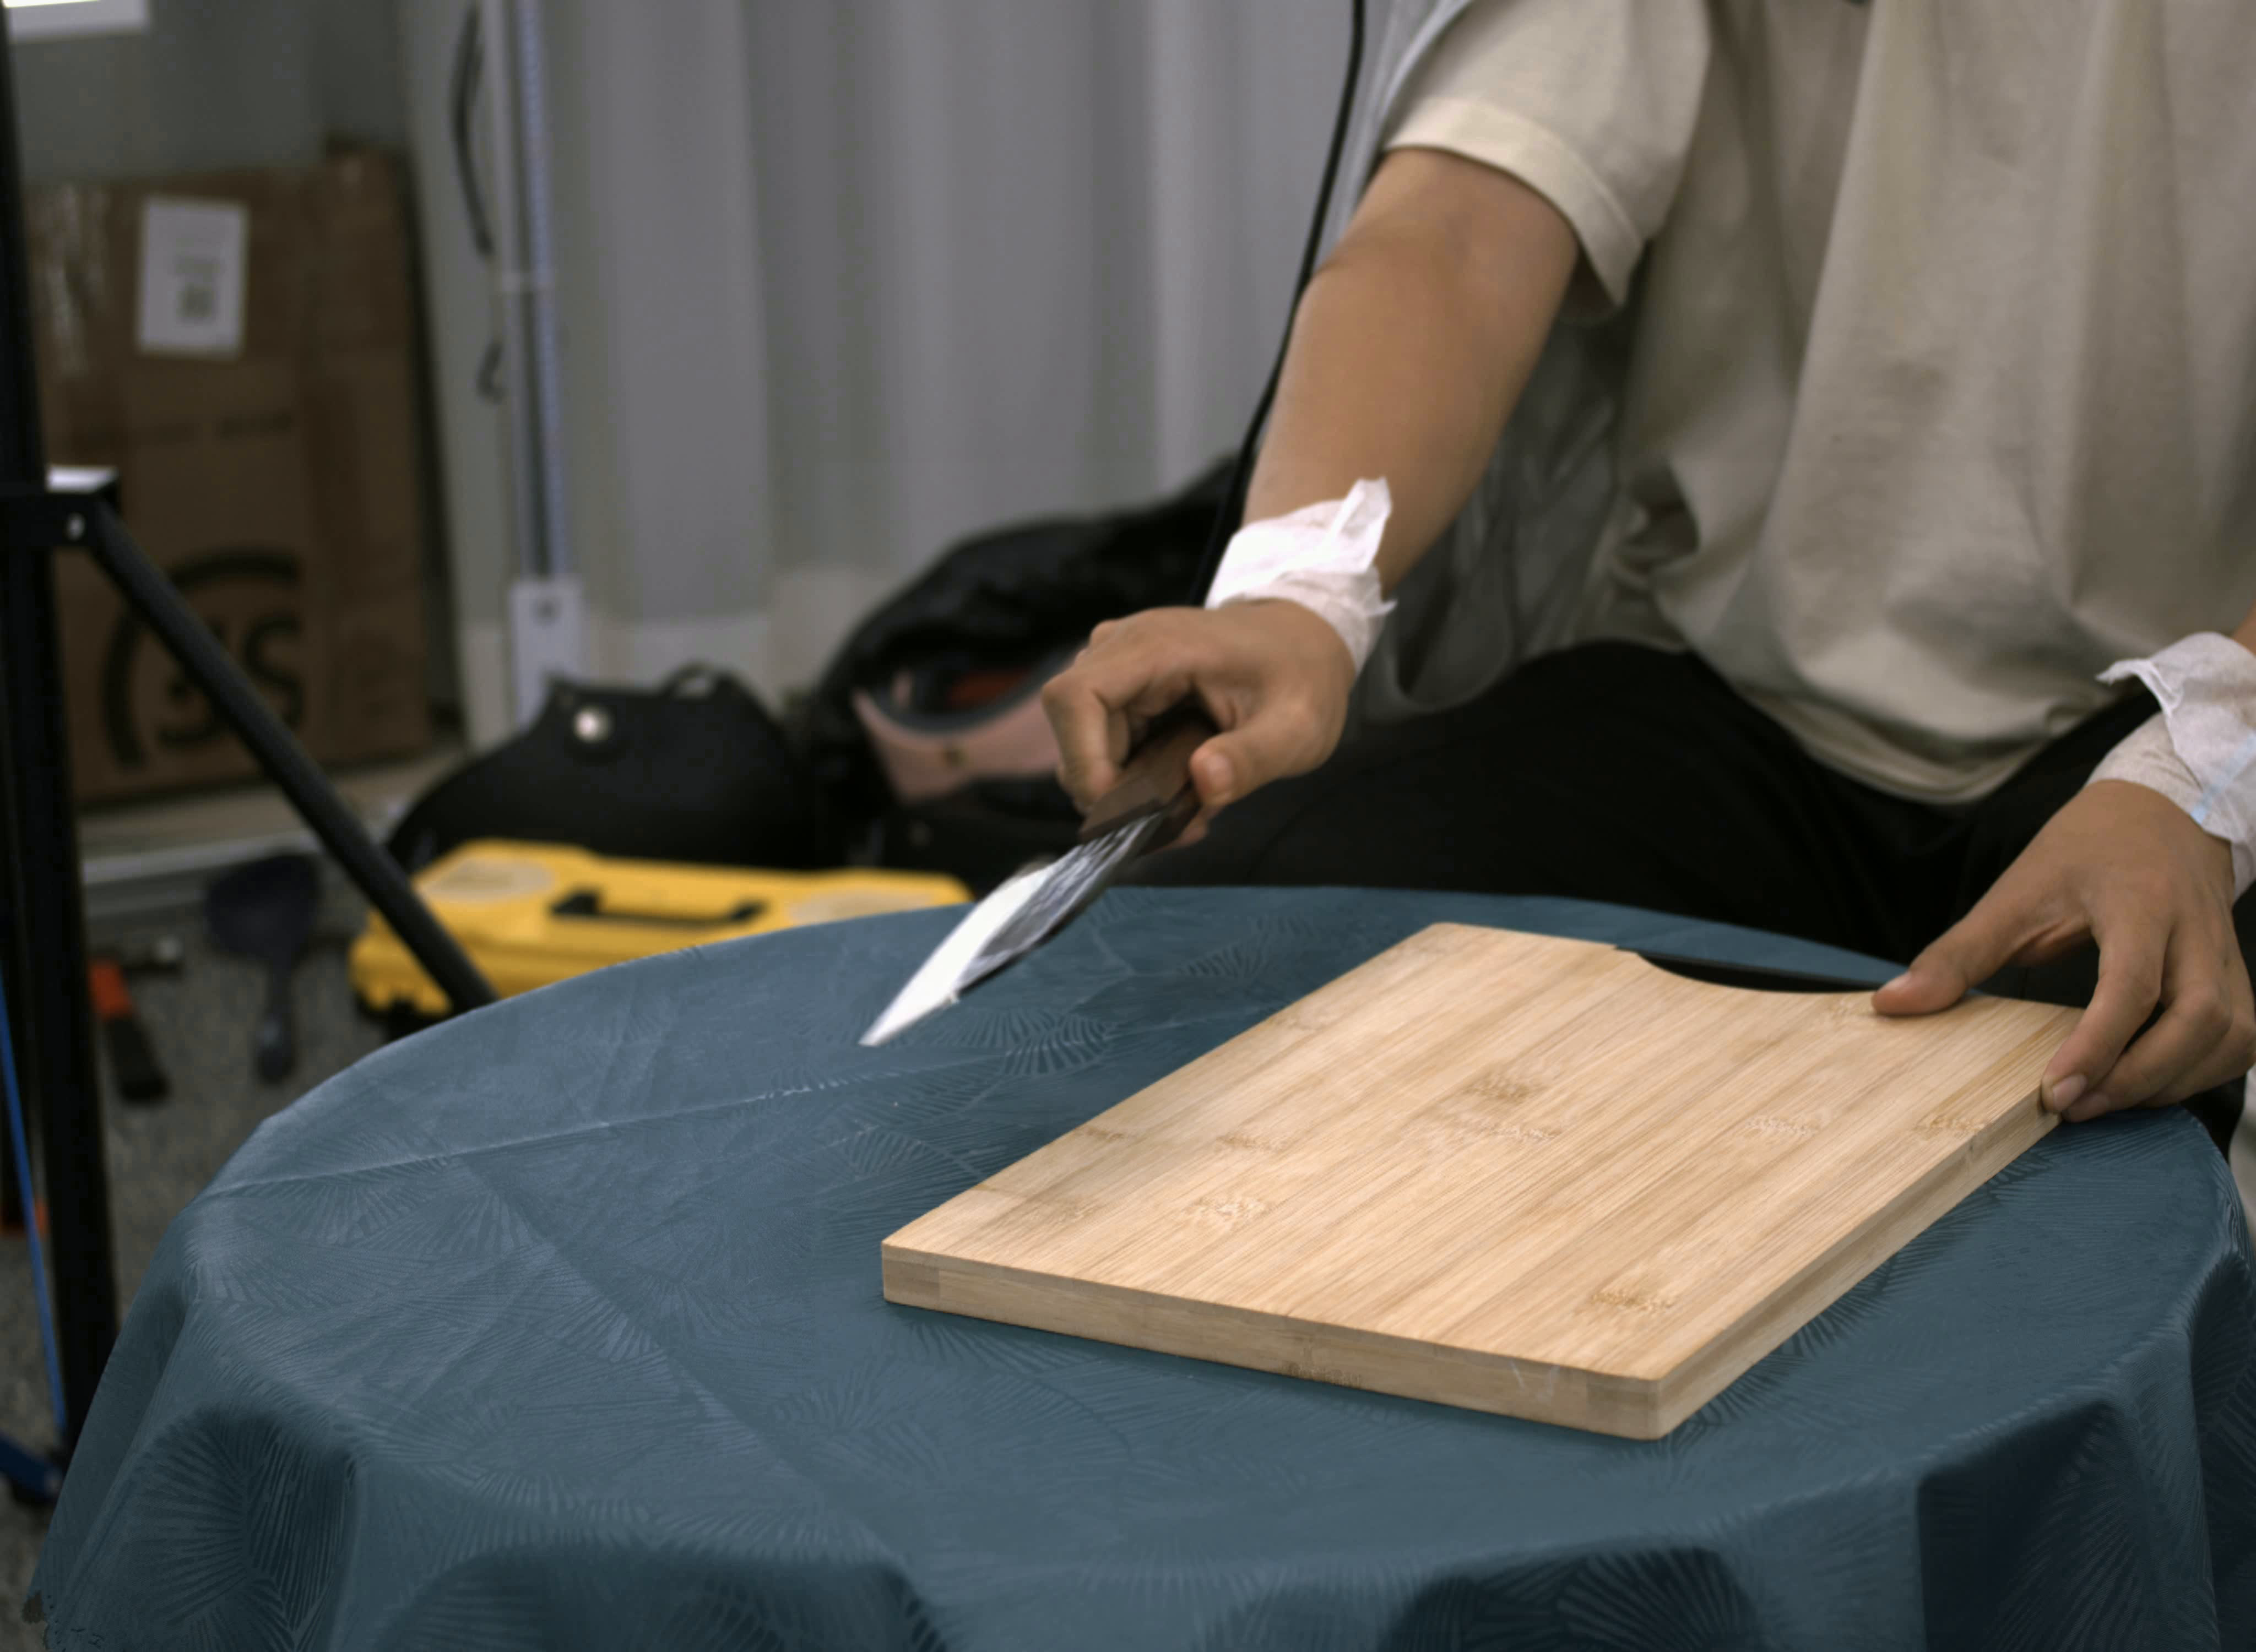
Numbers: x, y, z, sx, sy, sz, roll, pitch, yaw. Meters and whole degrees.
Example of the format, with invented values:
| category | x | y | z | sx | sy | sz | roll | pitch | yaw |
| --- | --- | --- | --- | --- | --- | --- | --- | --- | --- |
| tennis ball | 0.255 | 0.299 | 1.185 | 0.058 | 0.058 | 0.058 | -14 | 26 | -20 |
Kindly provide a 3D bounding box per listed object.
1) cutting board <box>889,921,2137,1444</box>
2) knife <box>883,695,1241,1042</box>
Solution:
| category | x | y | z | sx | sy | sz | roll | pitch | yaw |
| --- | --- | --- | --- | --- | --- | --- | --- | --- | --- |
| cutting board | 0.122 | 0.095 | 1.553 | 0.255 | 0.023 | 0.342 | 7 | 18 | 30 |
| knife | -0.018 | 0.013 | 1.625 | 0.068 | 0.024 | 0.297 | -28 | 7 | 18 |
